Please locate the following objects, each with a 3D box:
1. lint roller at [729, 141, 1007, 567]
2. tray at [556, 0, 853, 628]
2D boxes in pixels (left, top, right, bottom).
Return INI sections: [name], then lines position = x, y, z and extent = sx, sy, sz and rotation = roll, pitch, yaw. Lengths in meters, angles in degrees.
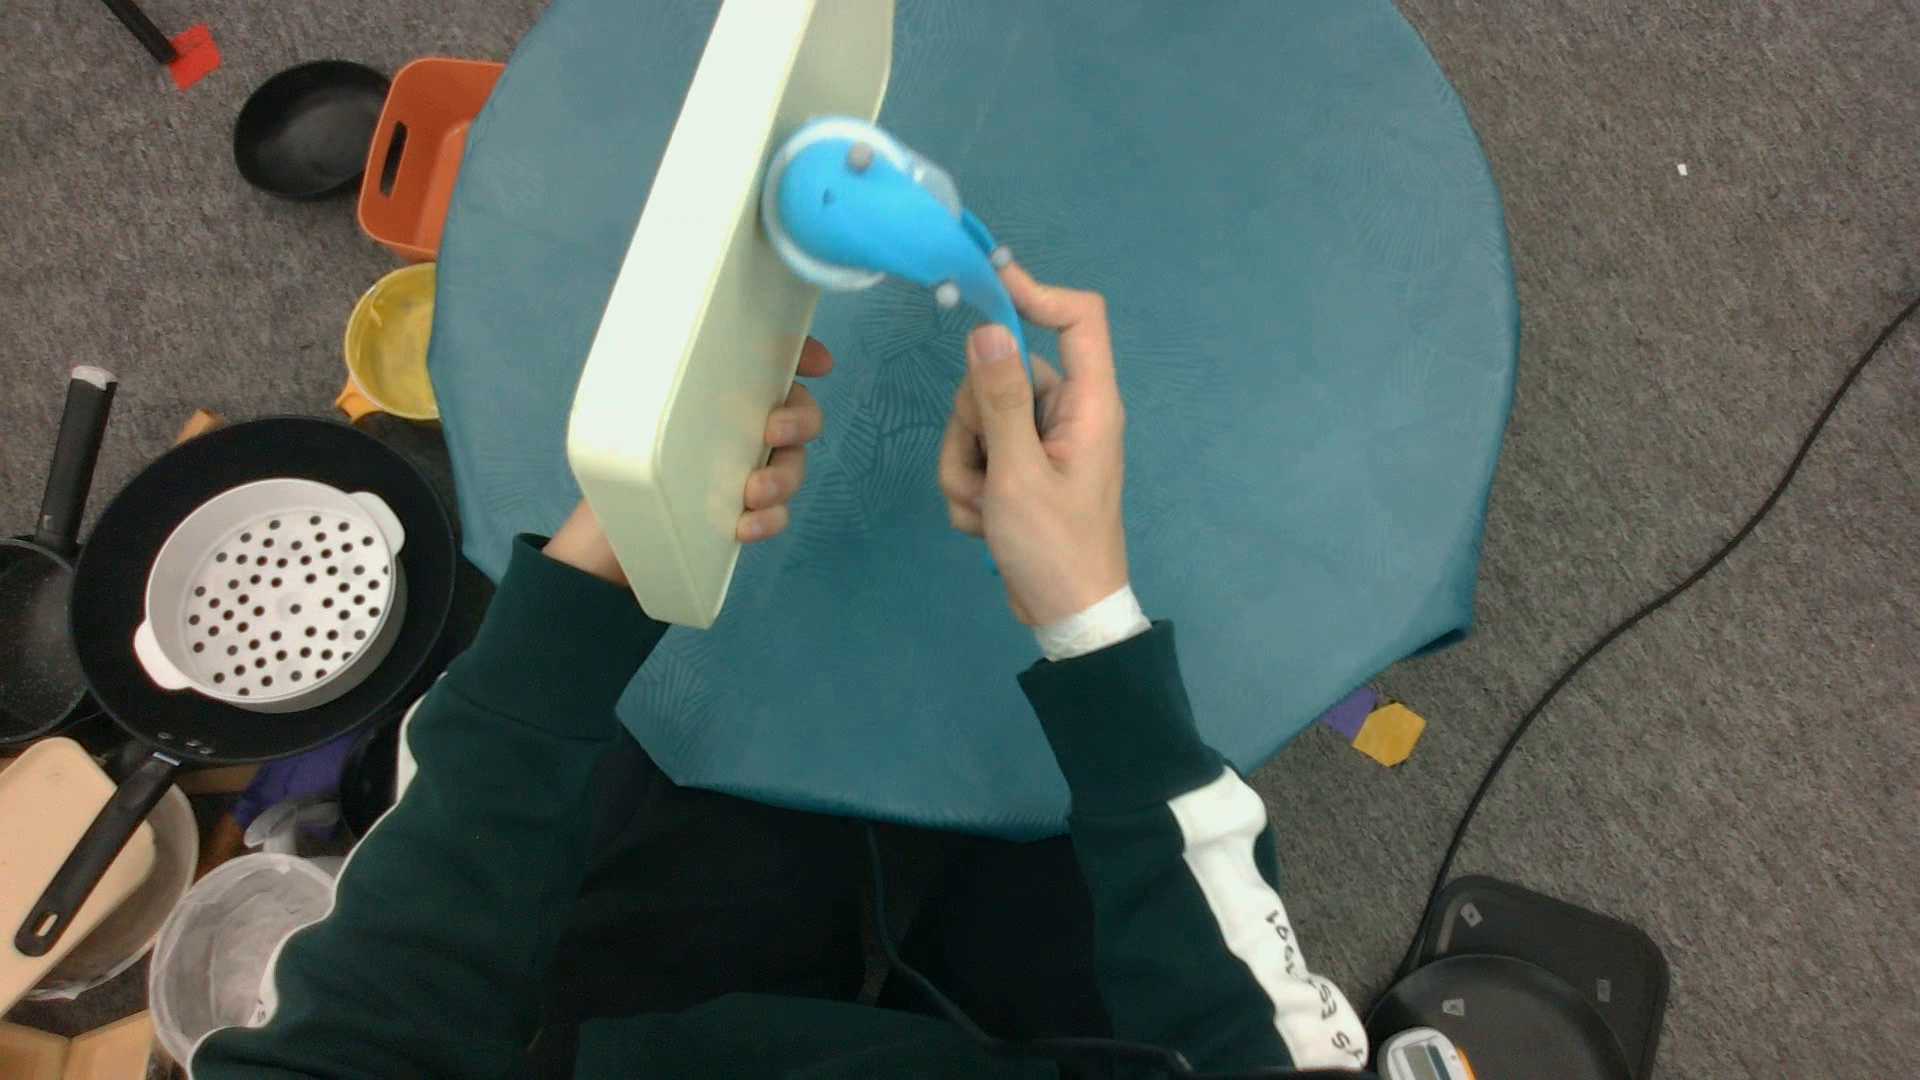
[lint roller]
position = -0.017, -0.079, 0.567
extent = 0.068, 0.229, 0.180
rotation = -33, 102, 6
[tray]
position = -0.085, -0.130, 0.534
extent = 0.027, 0.191, 0.301
rotation = 12, 70, 0
